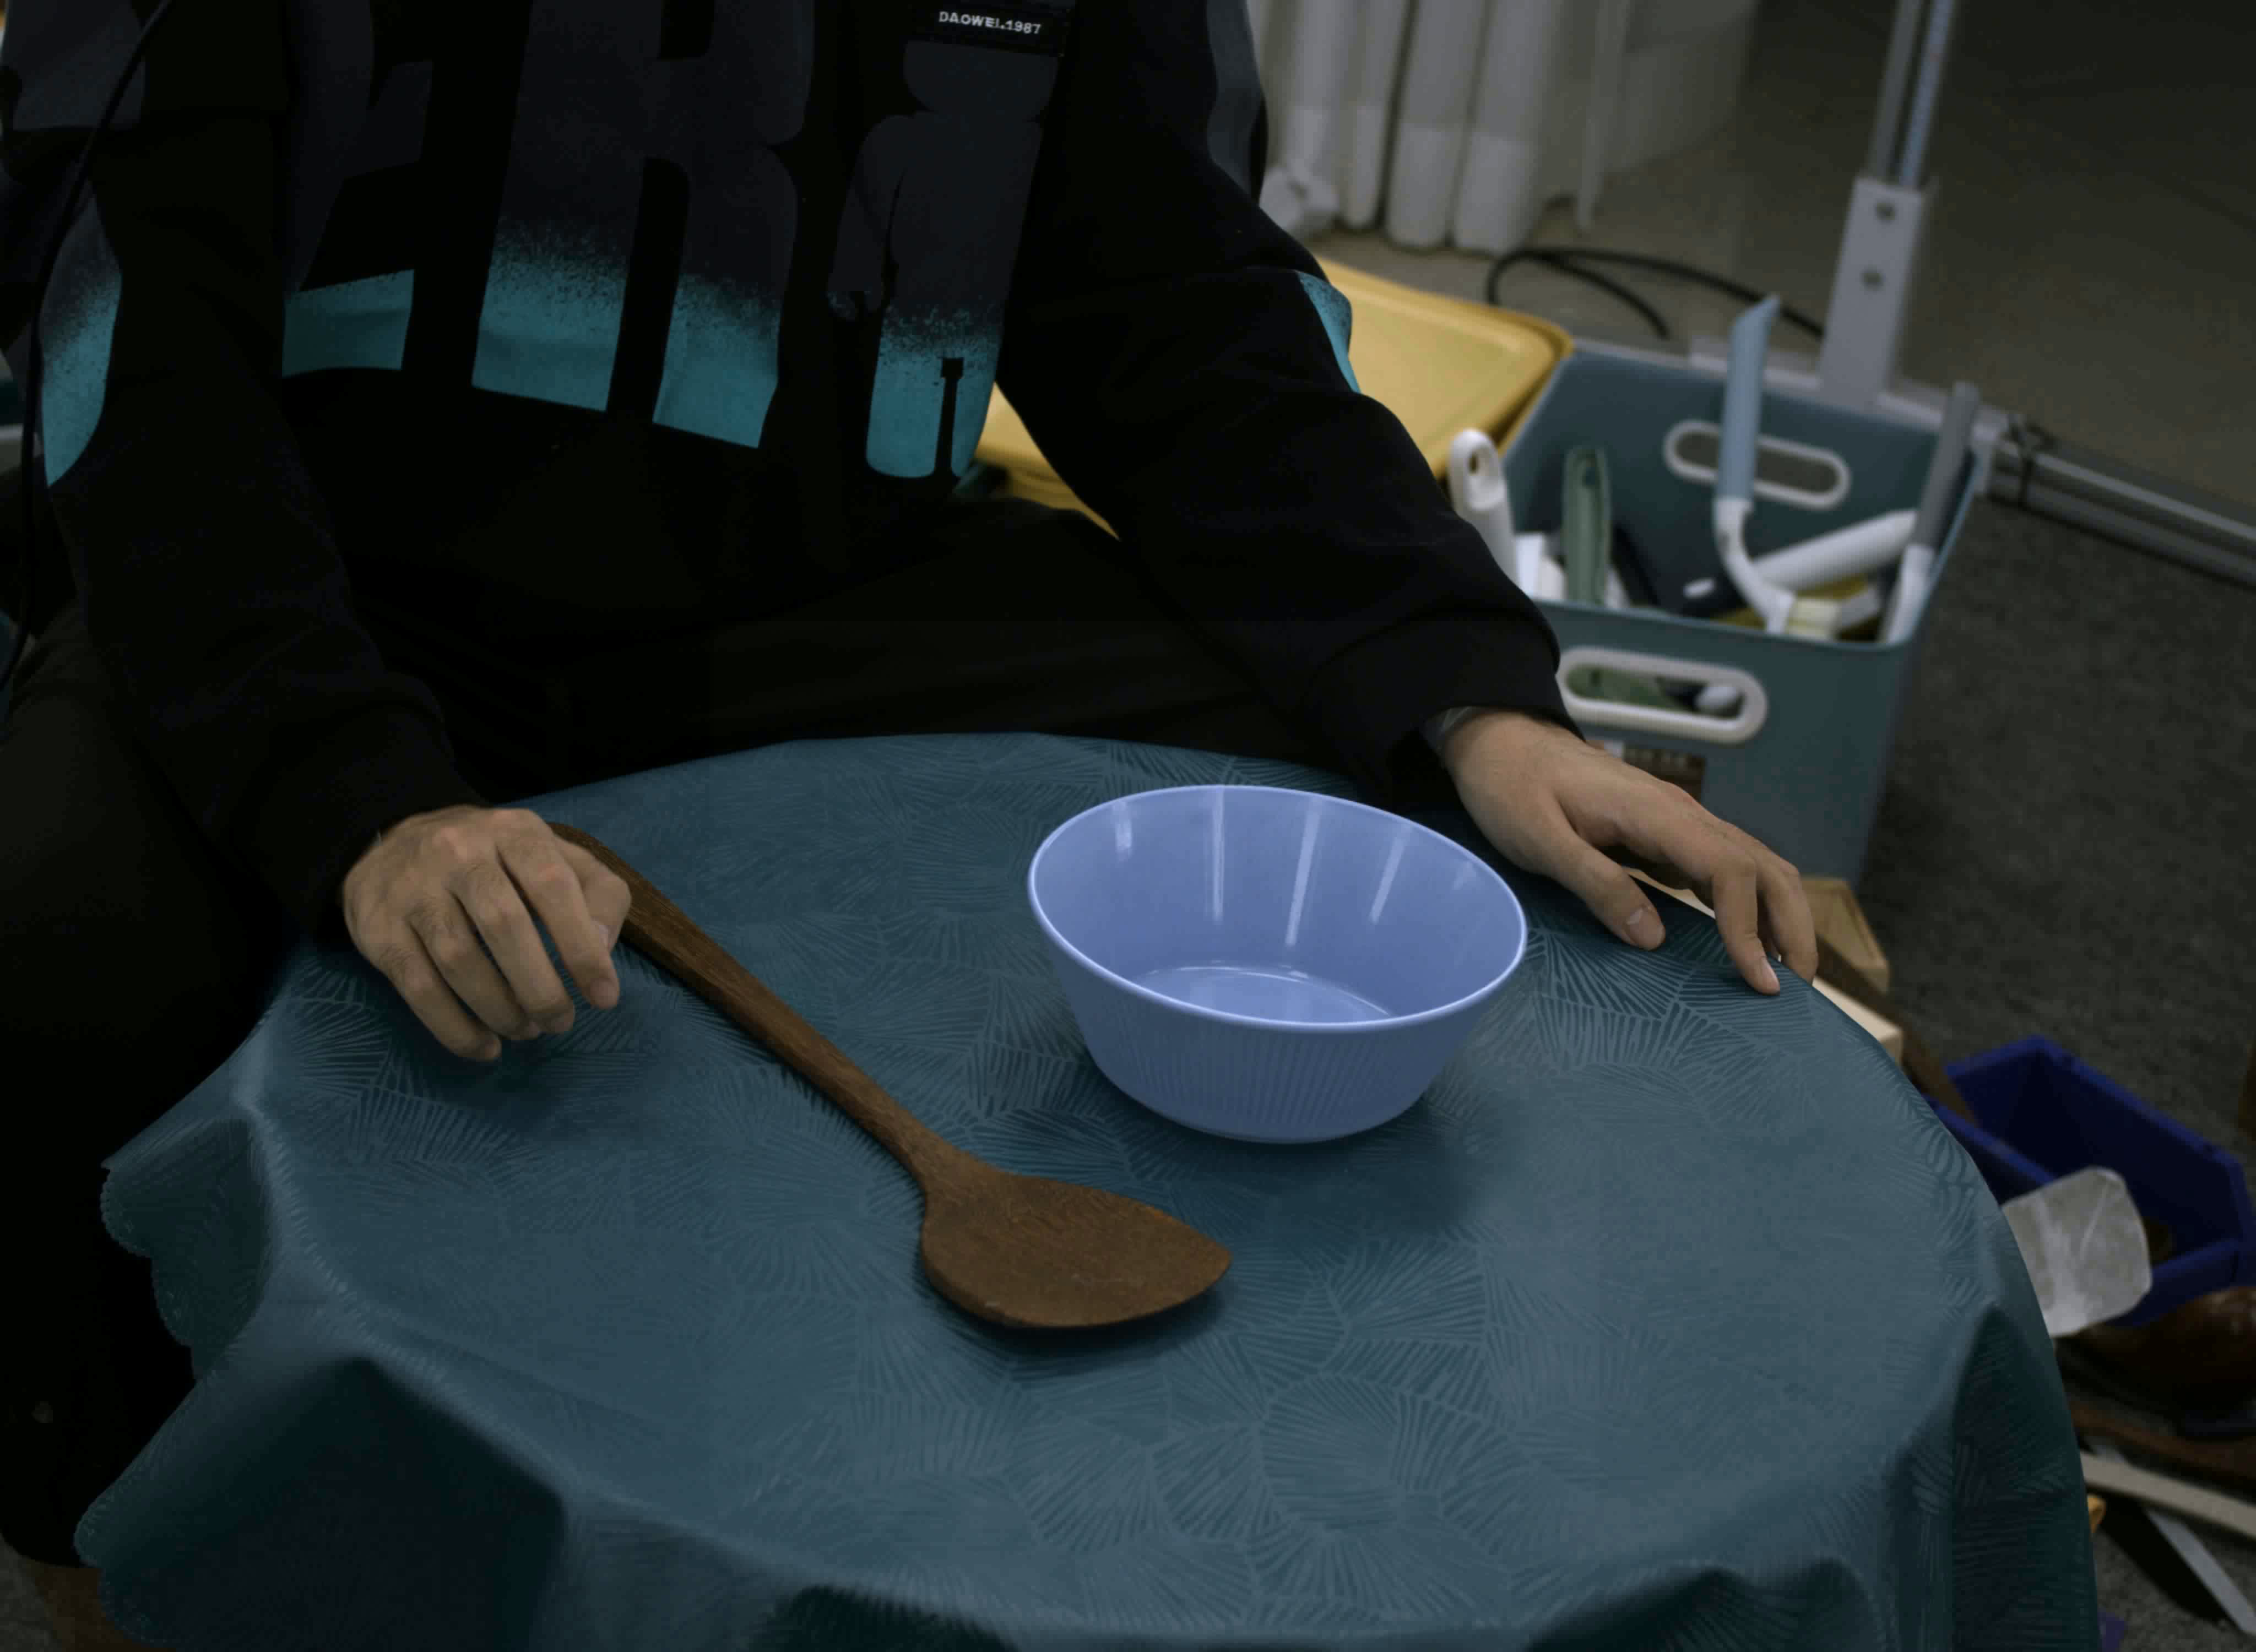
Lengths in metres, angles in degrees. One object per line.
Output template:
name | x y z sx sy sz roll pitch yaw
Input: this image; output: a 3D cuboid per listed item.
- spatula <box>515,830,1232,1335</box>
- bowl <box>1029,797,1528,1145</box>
spatula | -0.108 0.081 1.845 0.095 0.016 0.389 -13 33 -35
bowl | 0.050 0.056 1.869 0.175 0.070 0.177 5 25 -3
